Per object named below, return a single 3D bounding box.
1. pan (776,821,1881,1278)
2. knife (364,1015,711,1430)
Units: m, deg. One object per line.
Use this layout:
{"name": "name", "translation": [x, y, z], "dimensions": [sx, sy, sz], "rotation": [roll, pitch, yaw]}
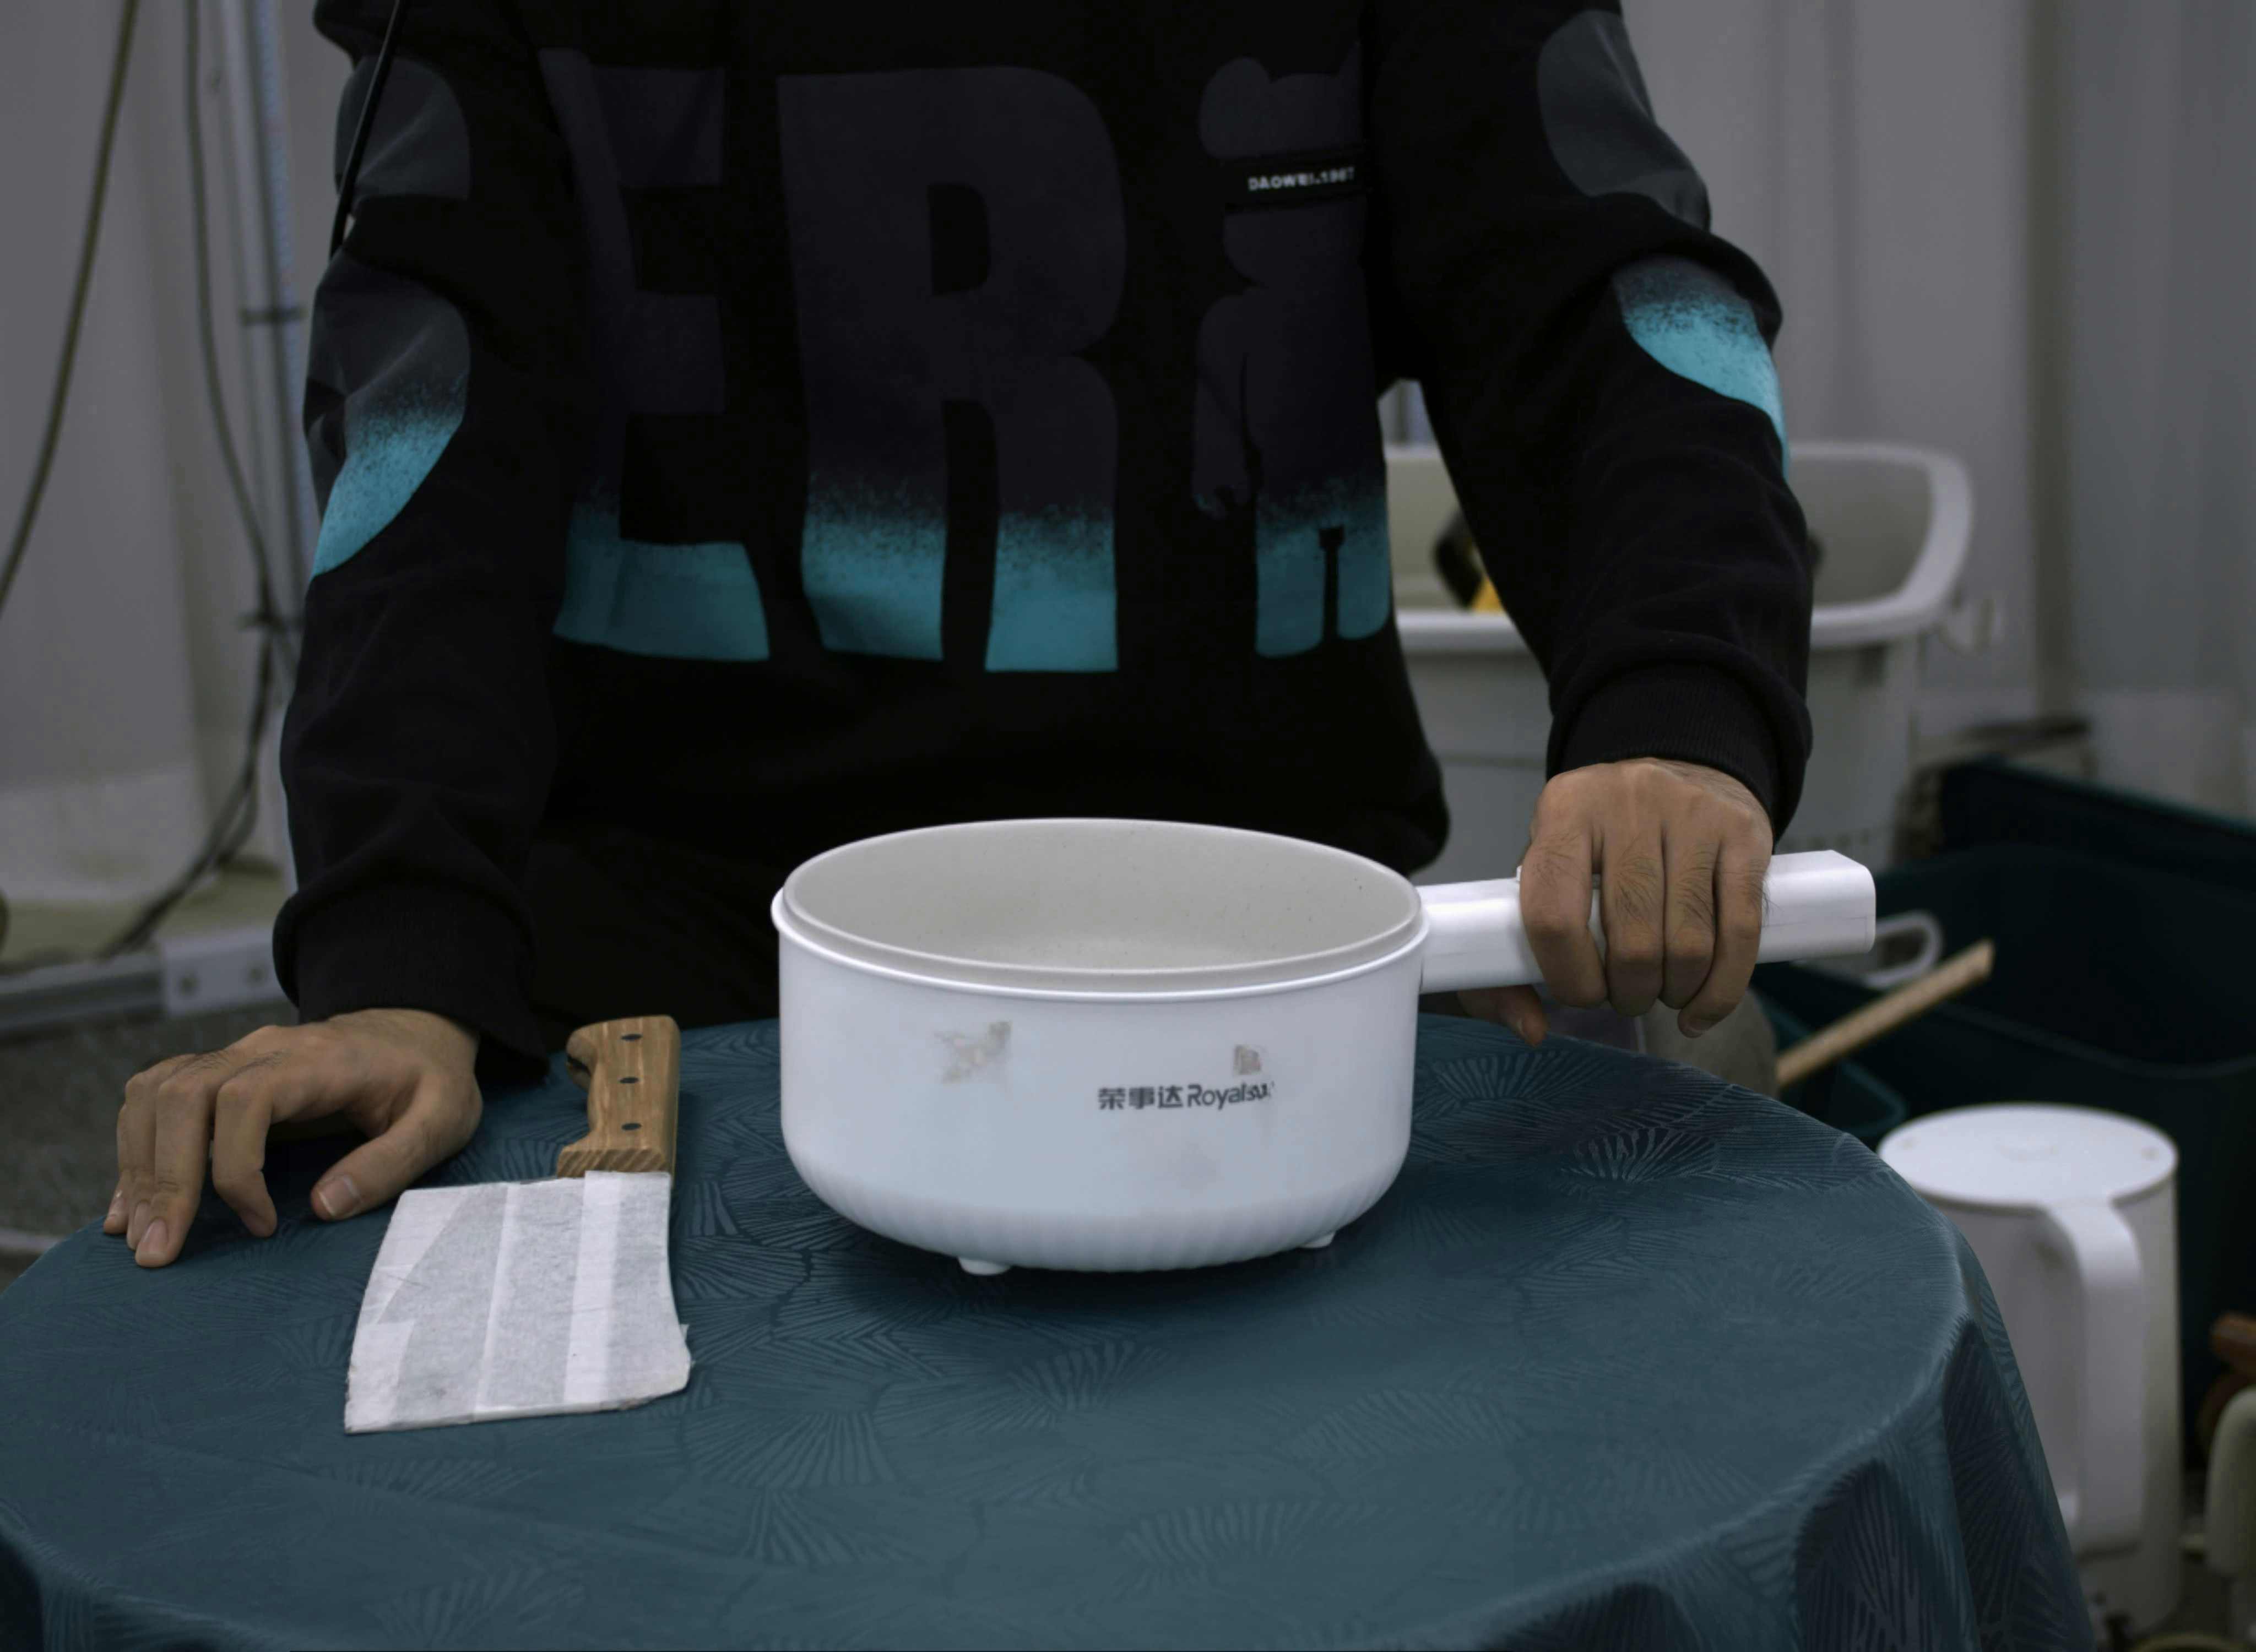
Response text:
{"name": "pan", "translation": [0.064, 0.066, 1.698], "dimensions": [0.353, 0.102, 0.203], "rotation": [-3, 13, -19]}
{"name": "knife", "translation": [-0.175, 0.121, 1.692], "dimensions": [0.113, 0.021, 0.318], "rotation": [-3, 18, 2]}
